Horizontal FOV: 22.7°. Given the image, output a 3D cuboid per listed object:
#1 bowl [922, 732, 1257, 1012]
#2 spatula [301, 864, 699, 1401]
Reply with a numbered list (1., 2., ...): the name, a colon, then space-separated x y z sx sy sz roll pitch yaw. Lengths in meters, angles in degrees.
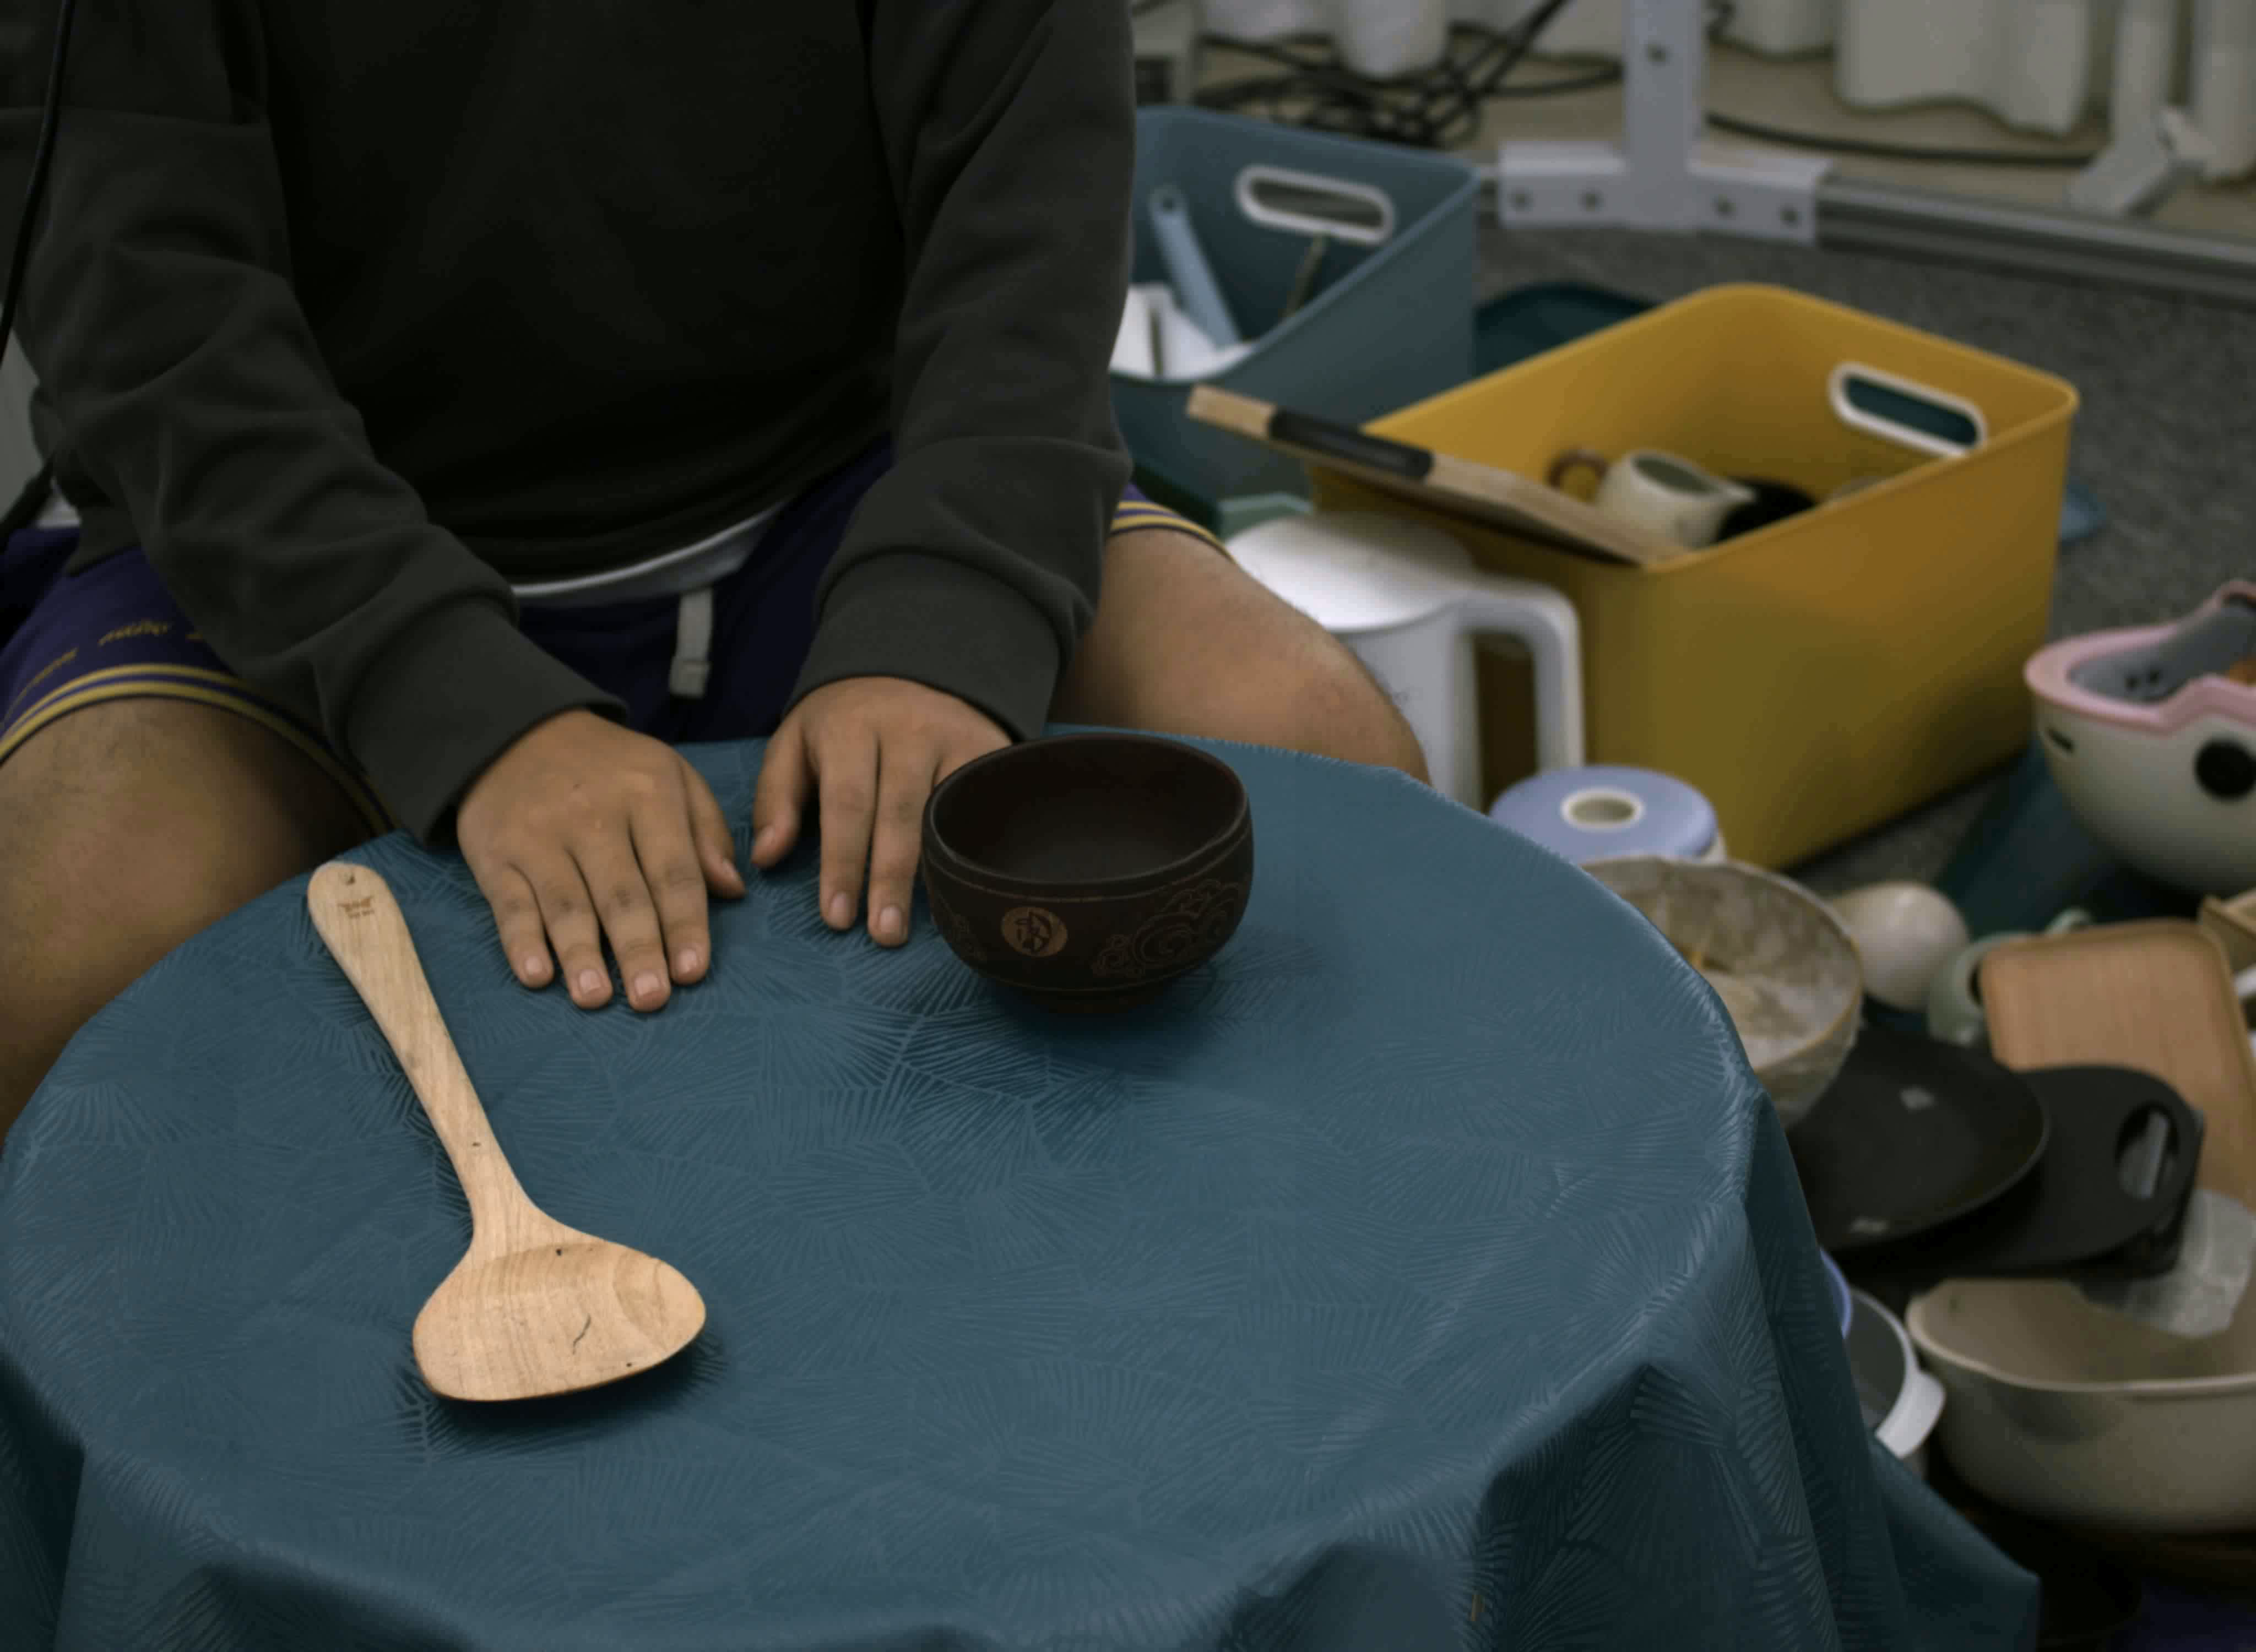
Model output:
1. bowl: -0.013 0.022 1.979 0.117 0.069 0.120 -3 25 2
2. spatula: -0.236 0.098 1.912 0.096 0.018 0.394 -10 28 -17
